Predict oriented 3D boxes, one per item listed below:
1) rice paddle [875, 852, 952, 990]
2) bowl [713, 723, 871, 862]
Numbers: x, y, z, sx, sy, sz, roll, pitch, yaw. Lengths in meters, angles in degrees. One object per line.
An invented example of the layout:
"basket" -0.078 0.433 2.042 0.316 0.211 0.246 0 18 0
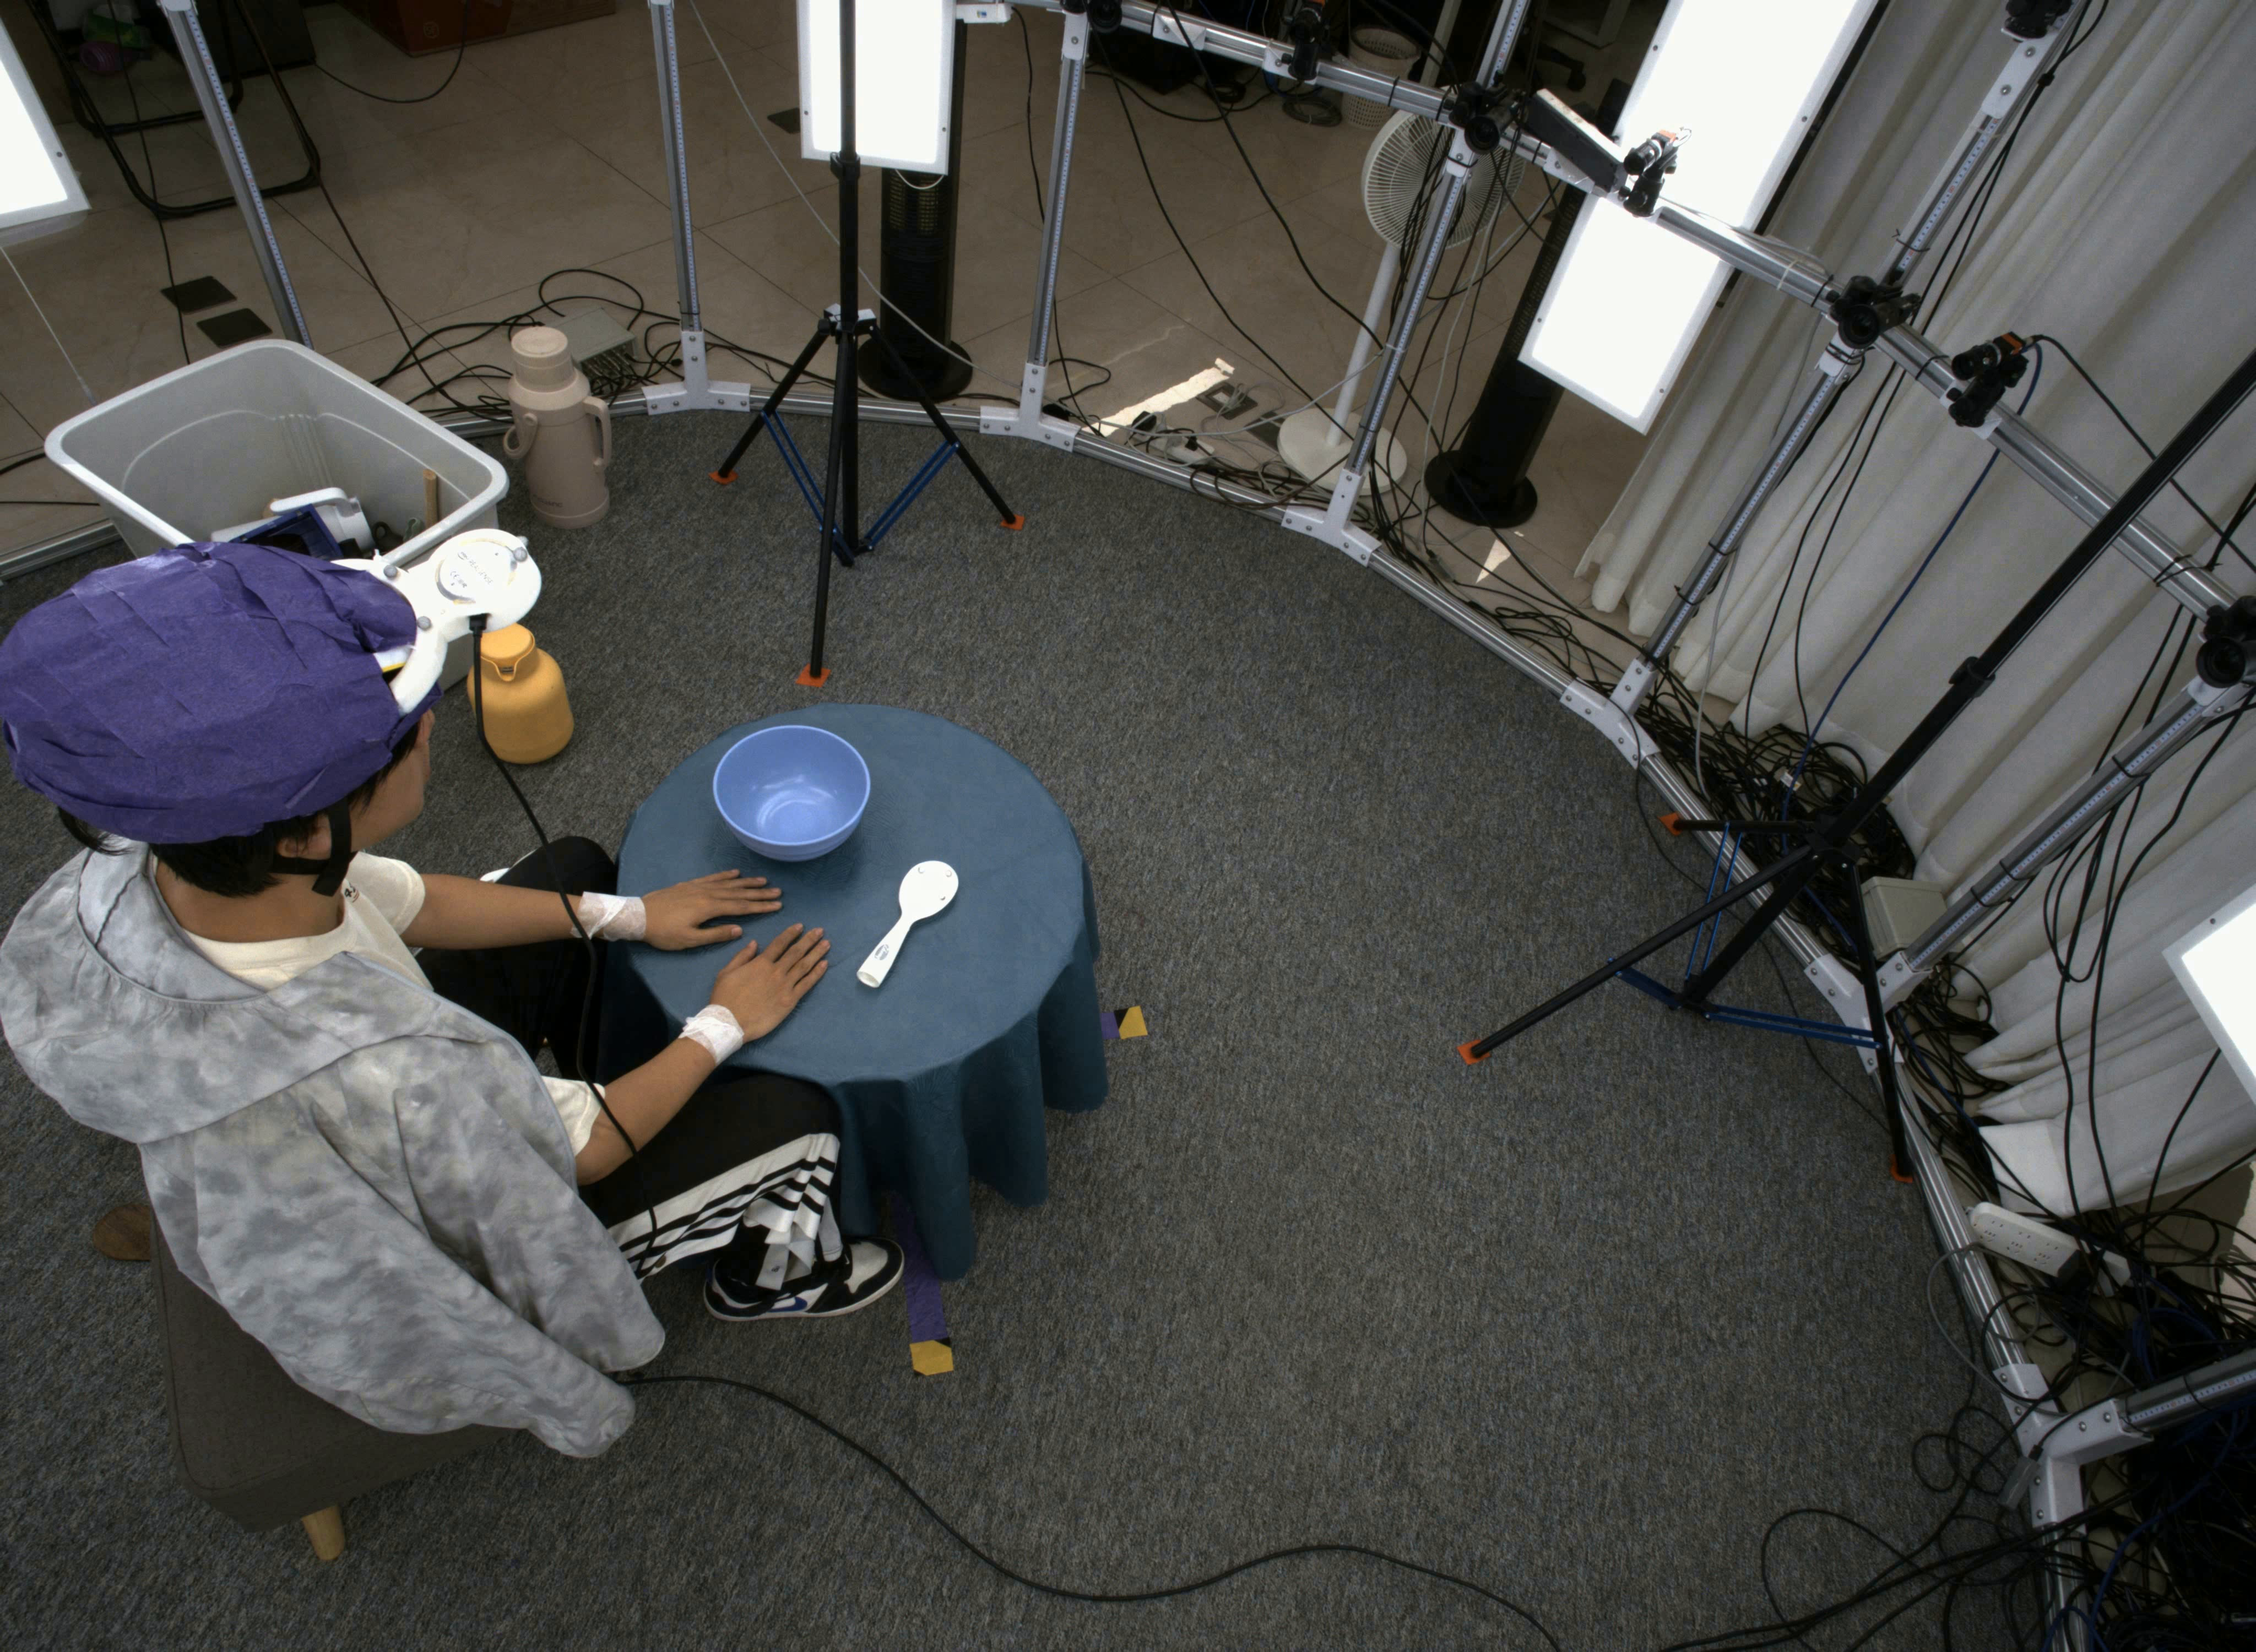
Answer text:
"rice paddle" -0.278 0.112 1.666 0.067 0.030 0.203 9 55 10
"bowl" -0.434 -0.028 1.682 0.196 0.097 0.193 8 52 -9
